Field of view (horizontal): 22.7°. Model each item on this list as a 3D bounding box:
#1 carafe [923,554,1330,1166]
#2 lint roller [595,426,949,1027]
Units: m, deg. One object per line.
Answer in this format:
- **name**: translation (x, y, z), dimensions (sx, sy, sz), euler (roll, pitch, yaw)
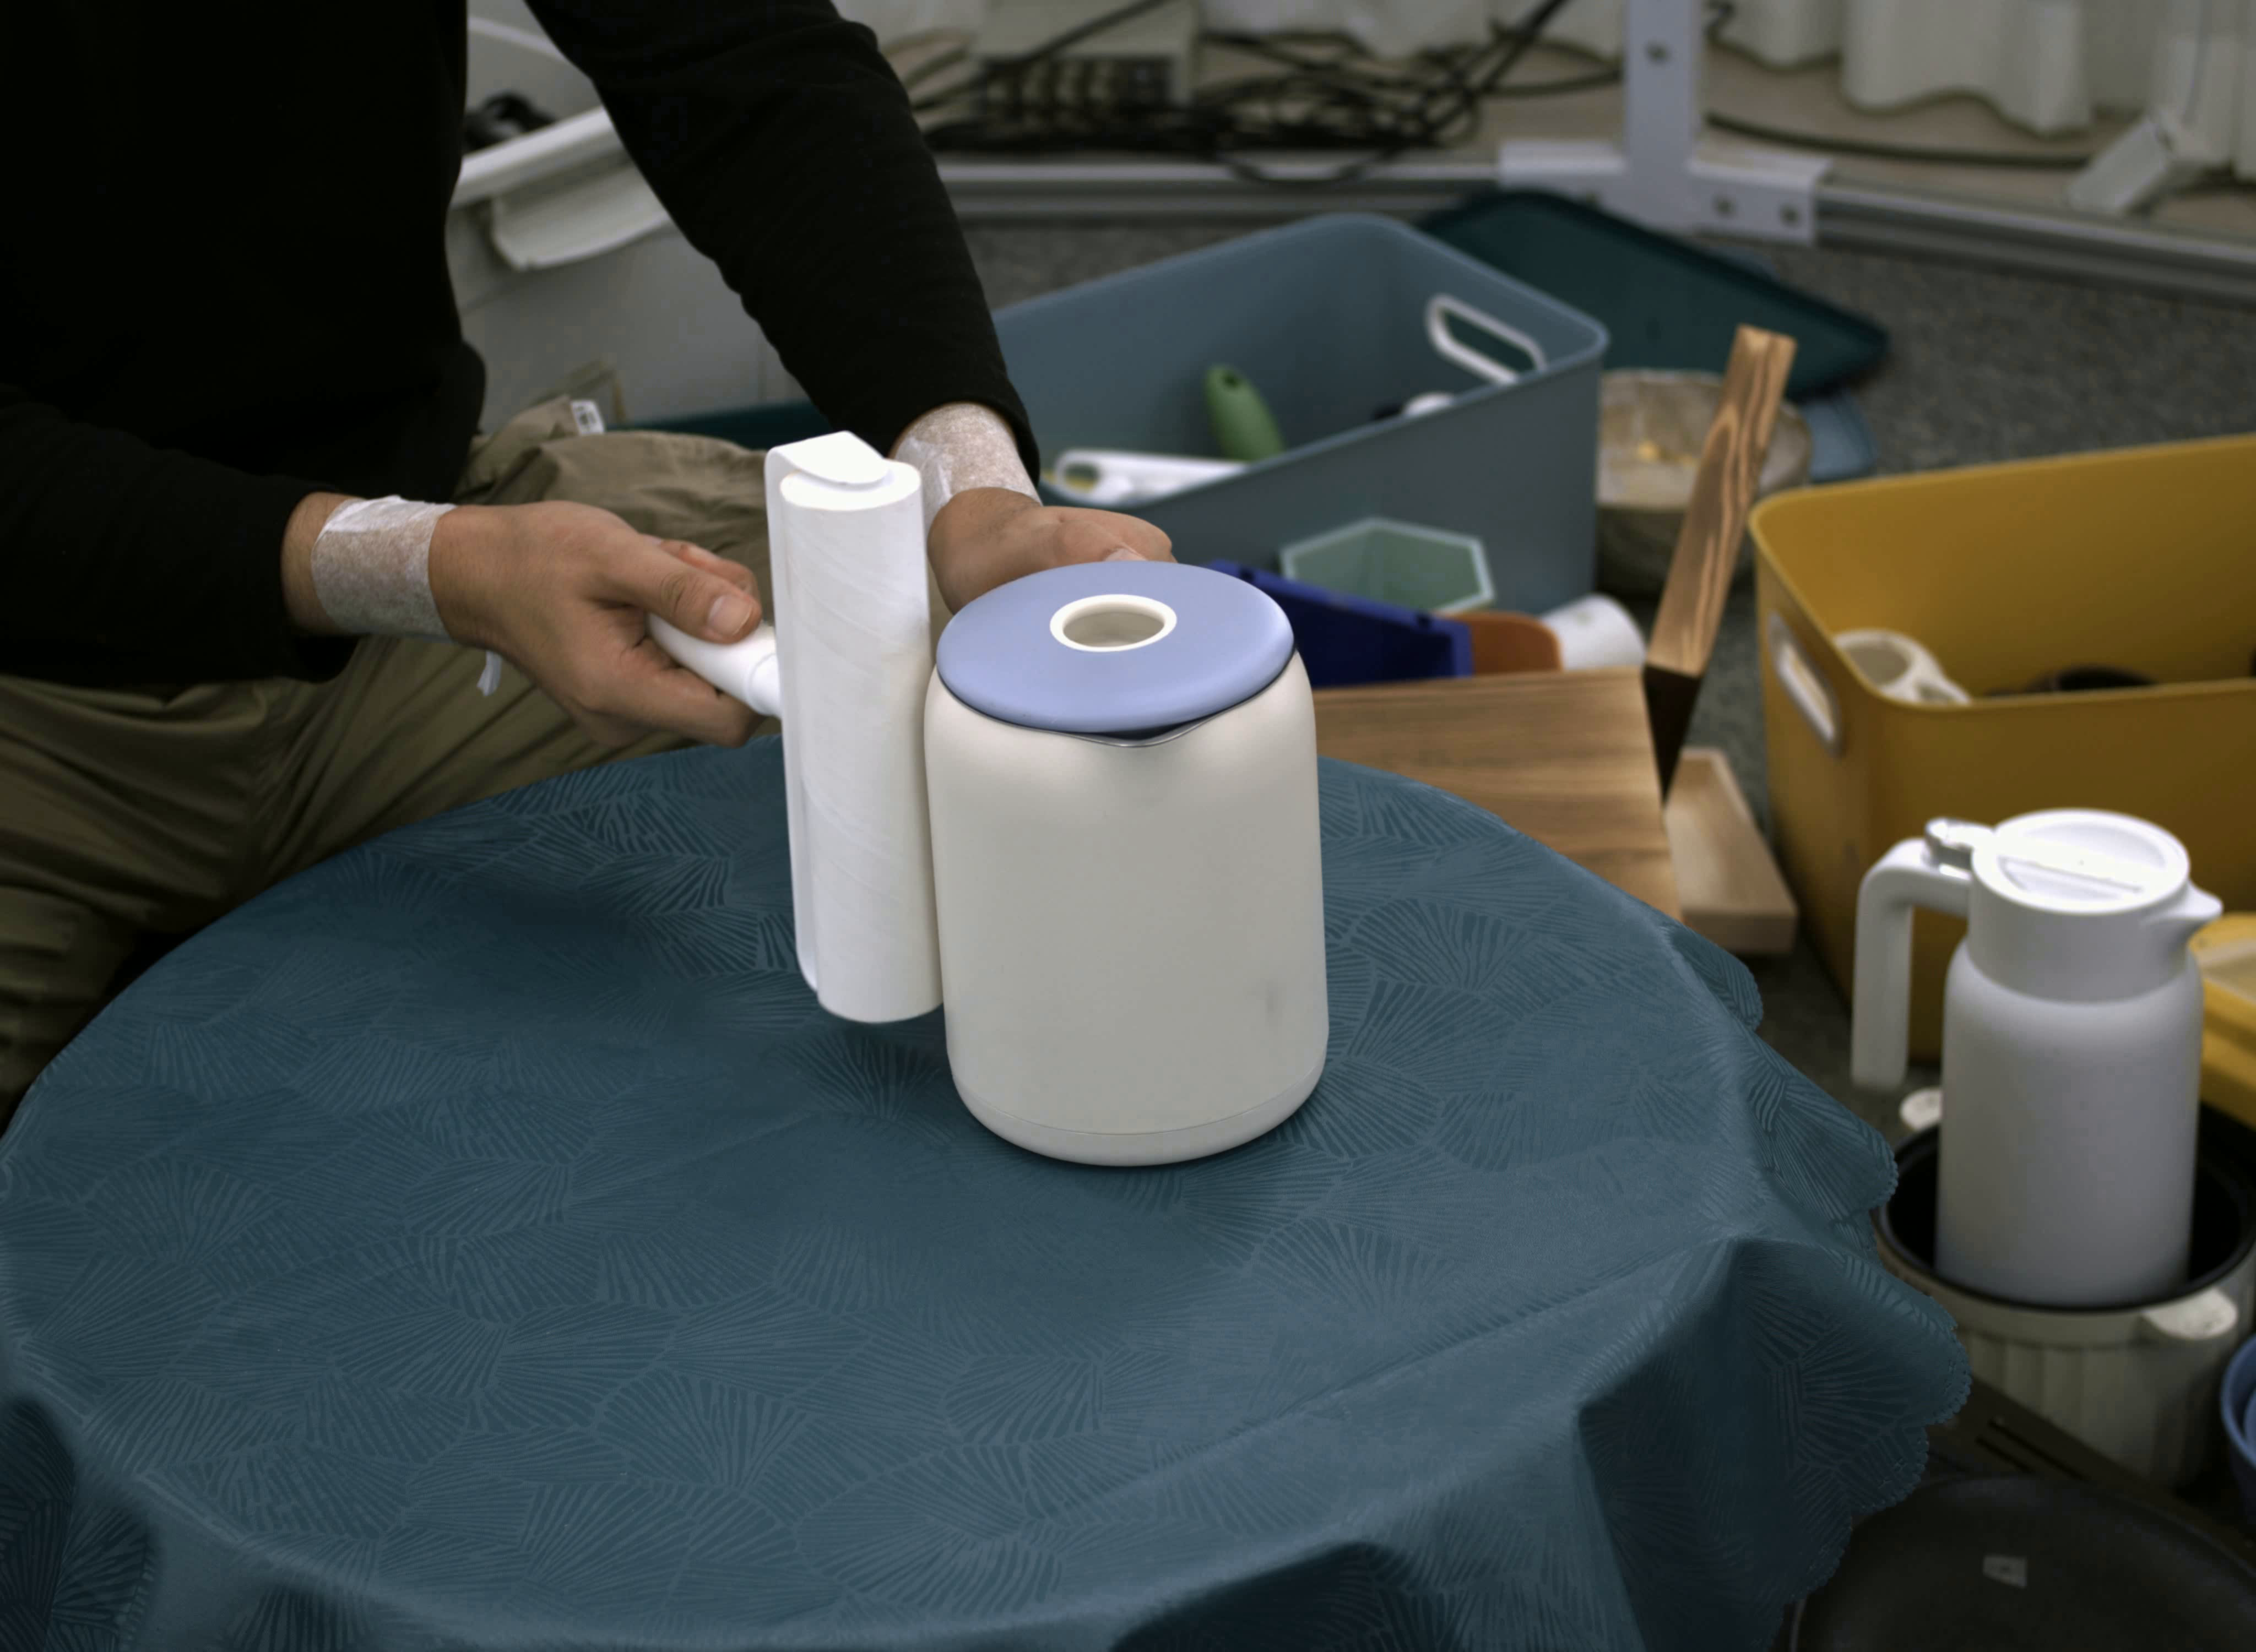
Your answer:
- **carafe**: translation (-0.004, 0.000, 1.911), dimensions (0.132, 0.181, 0.193), euler (-7, 25, -8)
- **lint roller**: translation (-0.137, -0.055, 1.962), dimensions (0.048, 0.201, 0.226), euler (-17, 26, -28)
